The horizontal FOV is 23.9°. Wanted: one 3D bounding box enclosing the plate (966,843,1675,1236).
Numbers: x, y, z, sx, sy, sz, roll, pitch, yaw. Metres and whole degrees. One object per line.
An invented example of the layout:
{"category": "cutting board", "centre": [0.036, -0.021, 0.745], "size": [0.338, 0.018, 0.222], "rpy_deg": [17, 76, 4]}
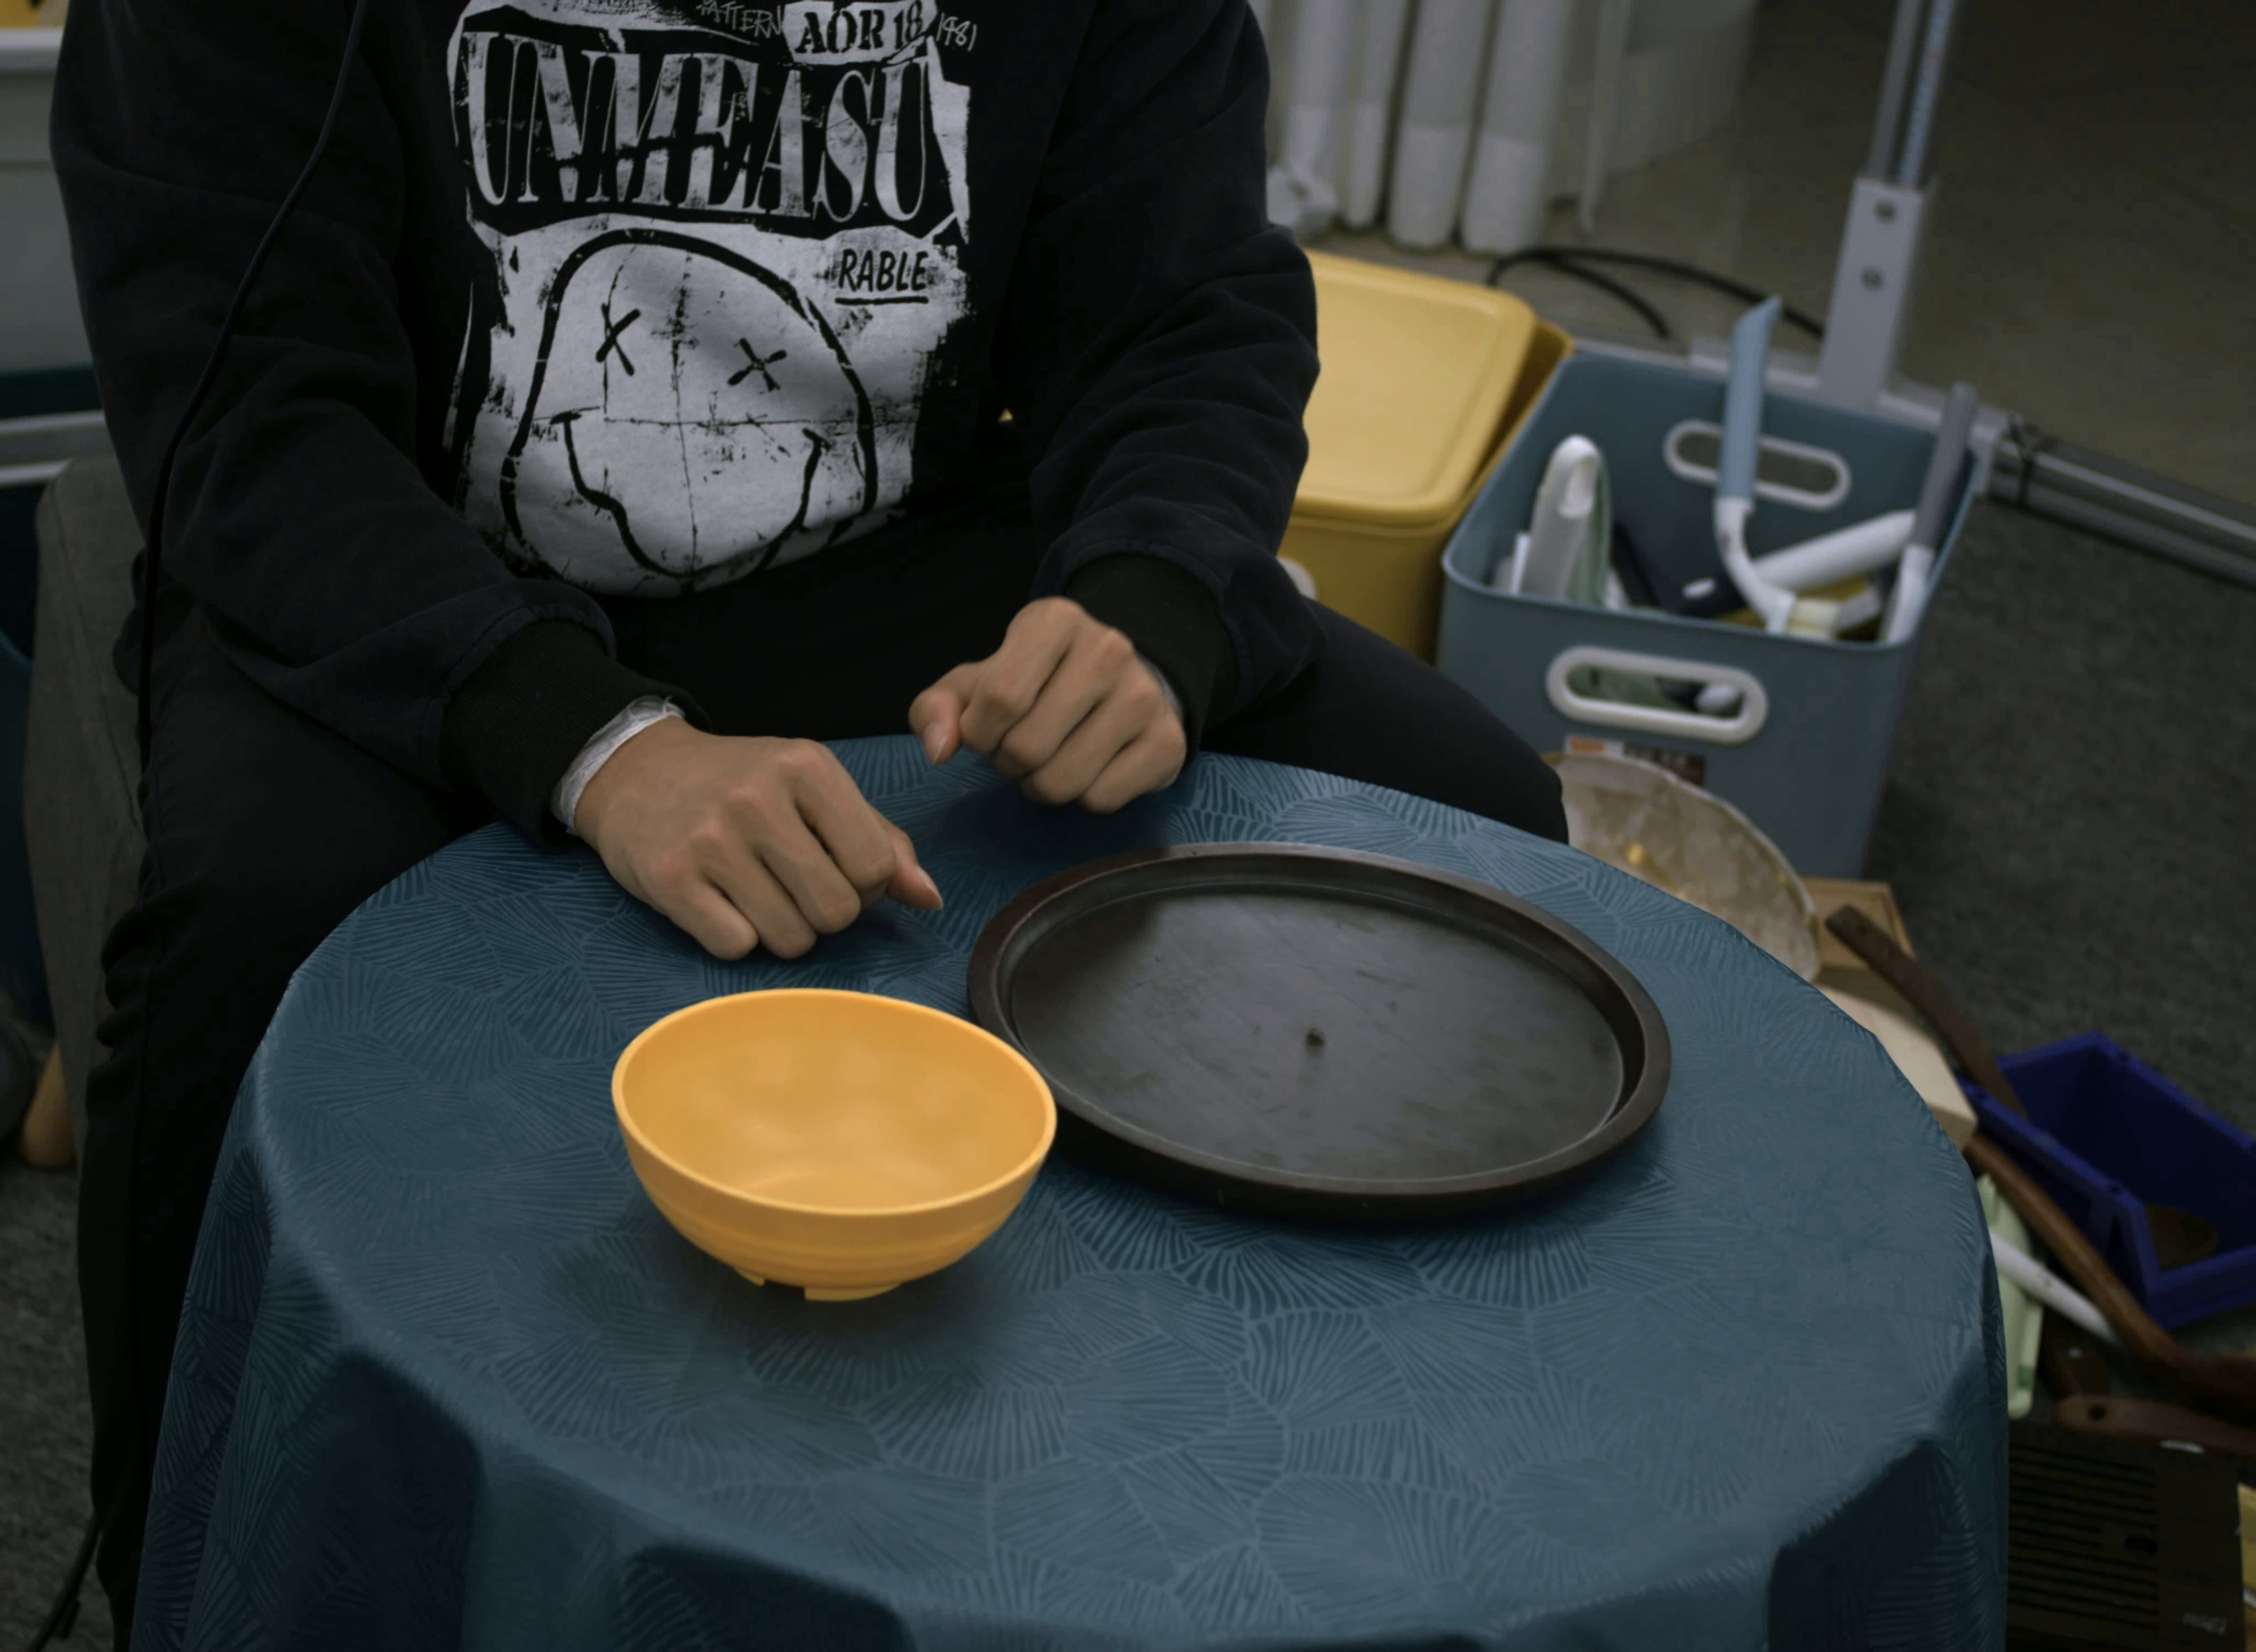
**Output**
{"category": "plate", "centre": [0.068, 0.074, 1.889], "size": [0.254, 0.029, 0.256], "rpy_deg": [4, 27, -2]}

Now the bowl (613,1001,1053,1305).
{"category": "bowl", "centre": [-0.098, 0.115, 1.734], "size": [0.145, 0.060, 0.146], "rpy_deg": [5, 24, -3]}
